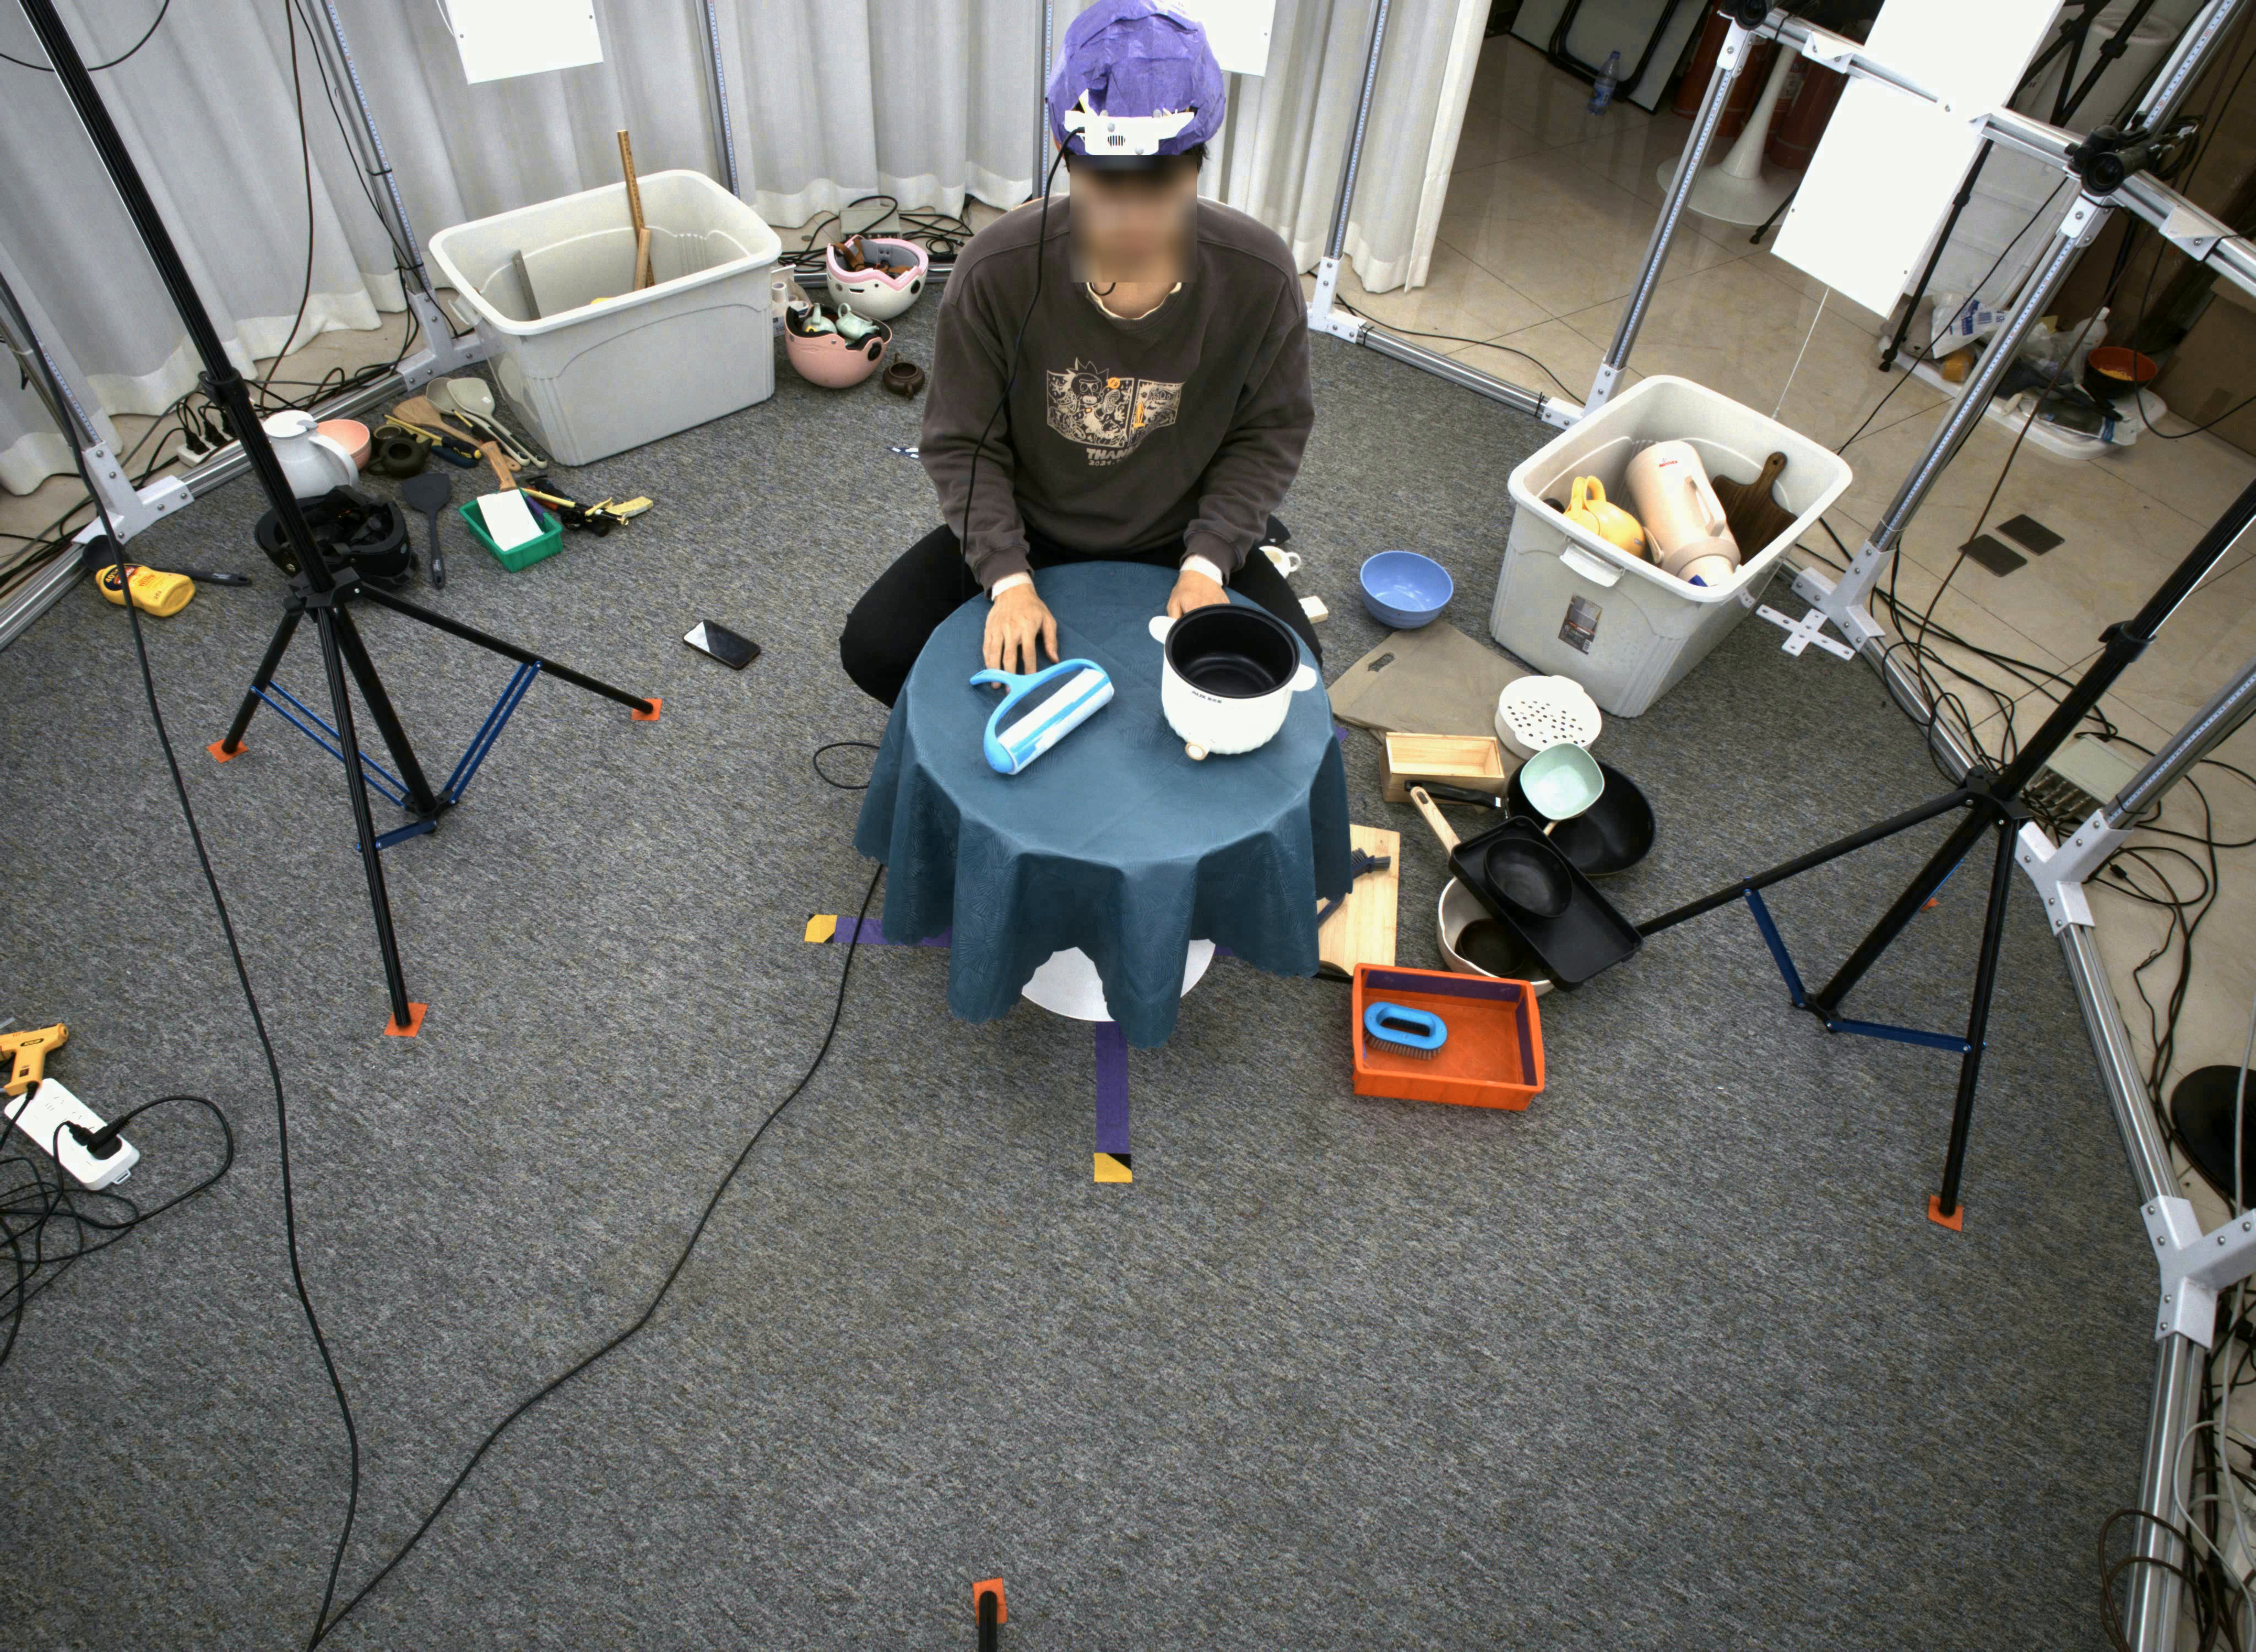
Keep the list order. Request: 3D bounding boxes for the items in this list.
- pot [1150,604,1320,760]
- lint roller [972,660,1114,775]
[{"bbox_3d":[0.135,-0.190,1.749,0.242,0.139,0.194,20,48,15],"label":"pot"},{"bbox_3d":[-0.148,-0.175,1.772,0.182,0.066,0.232,33,56,21],"label":"lint roller"}]
